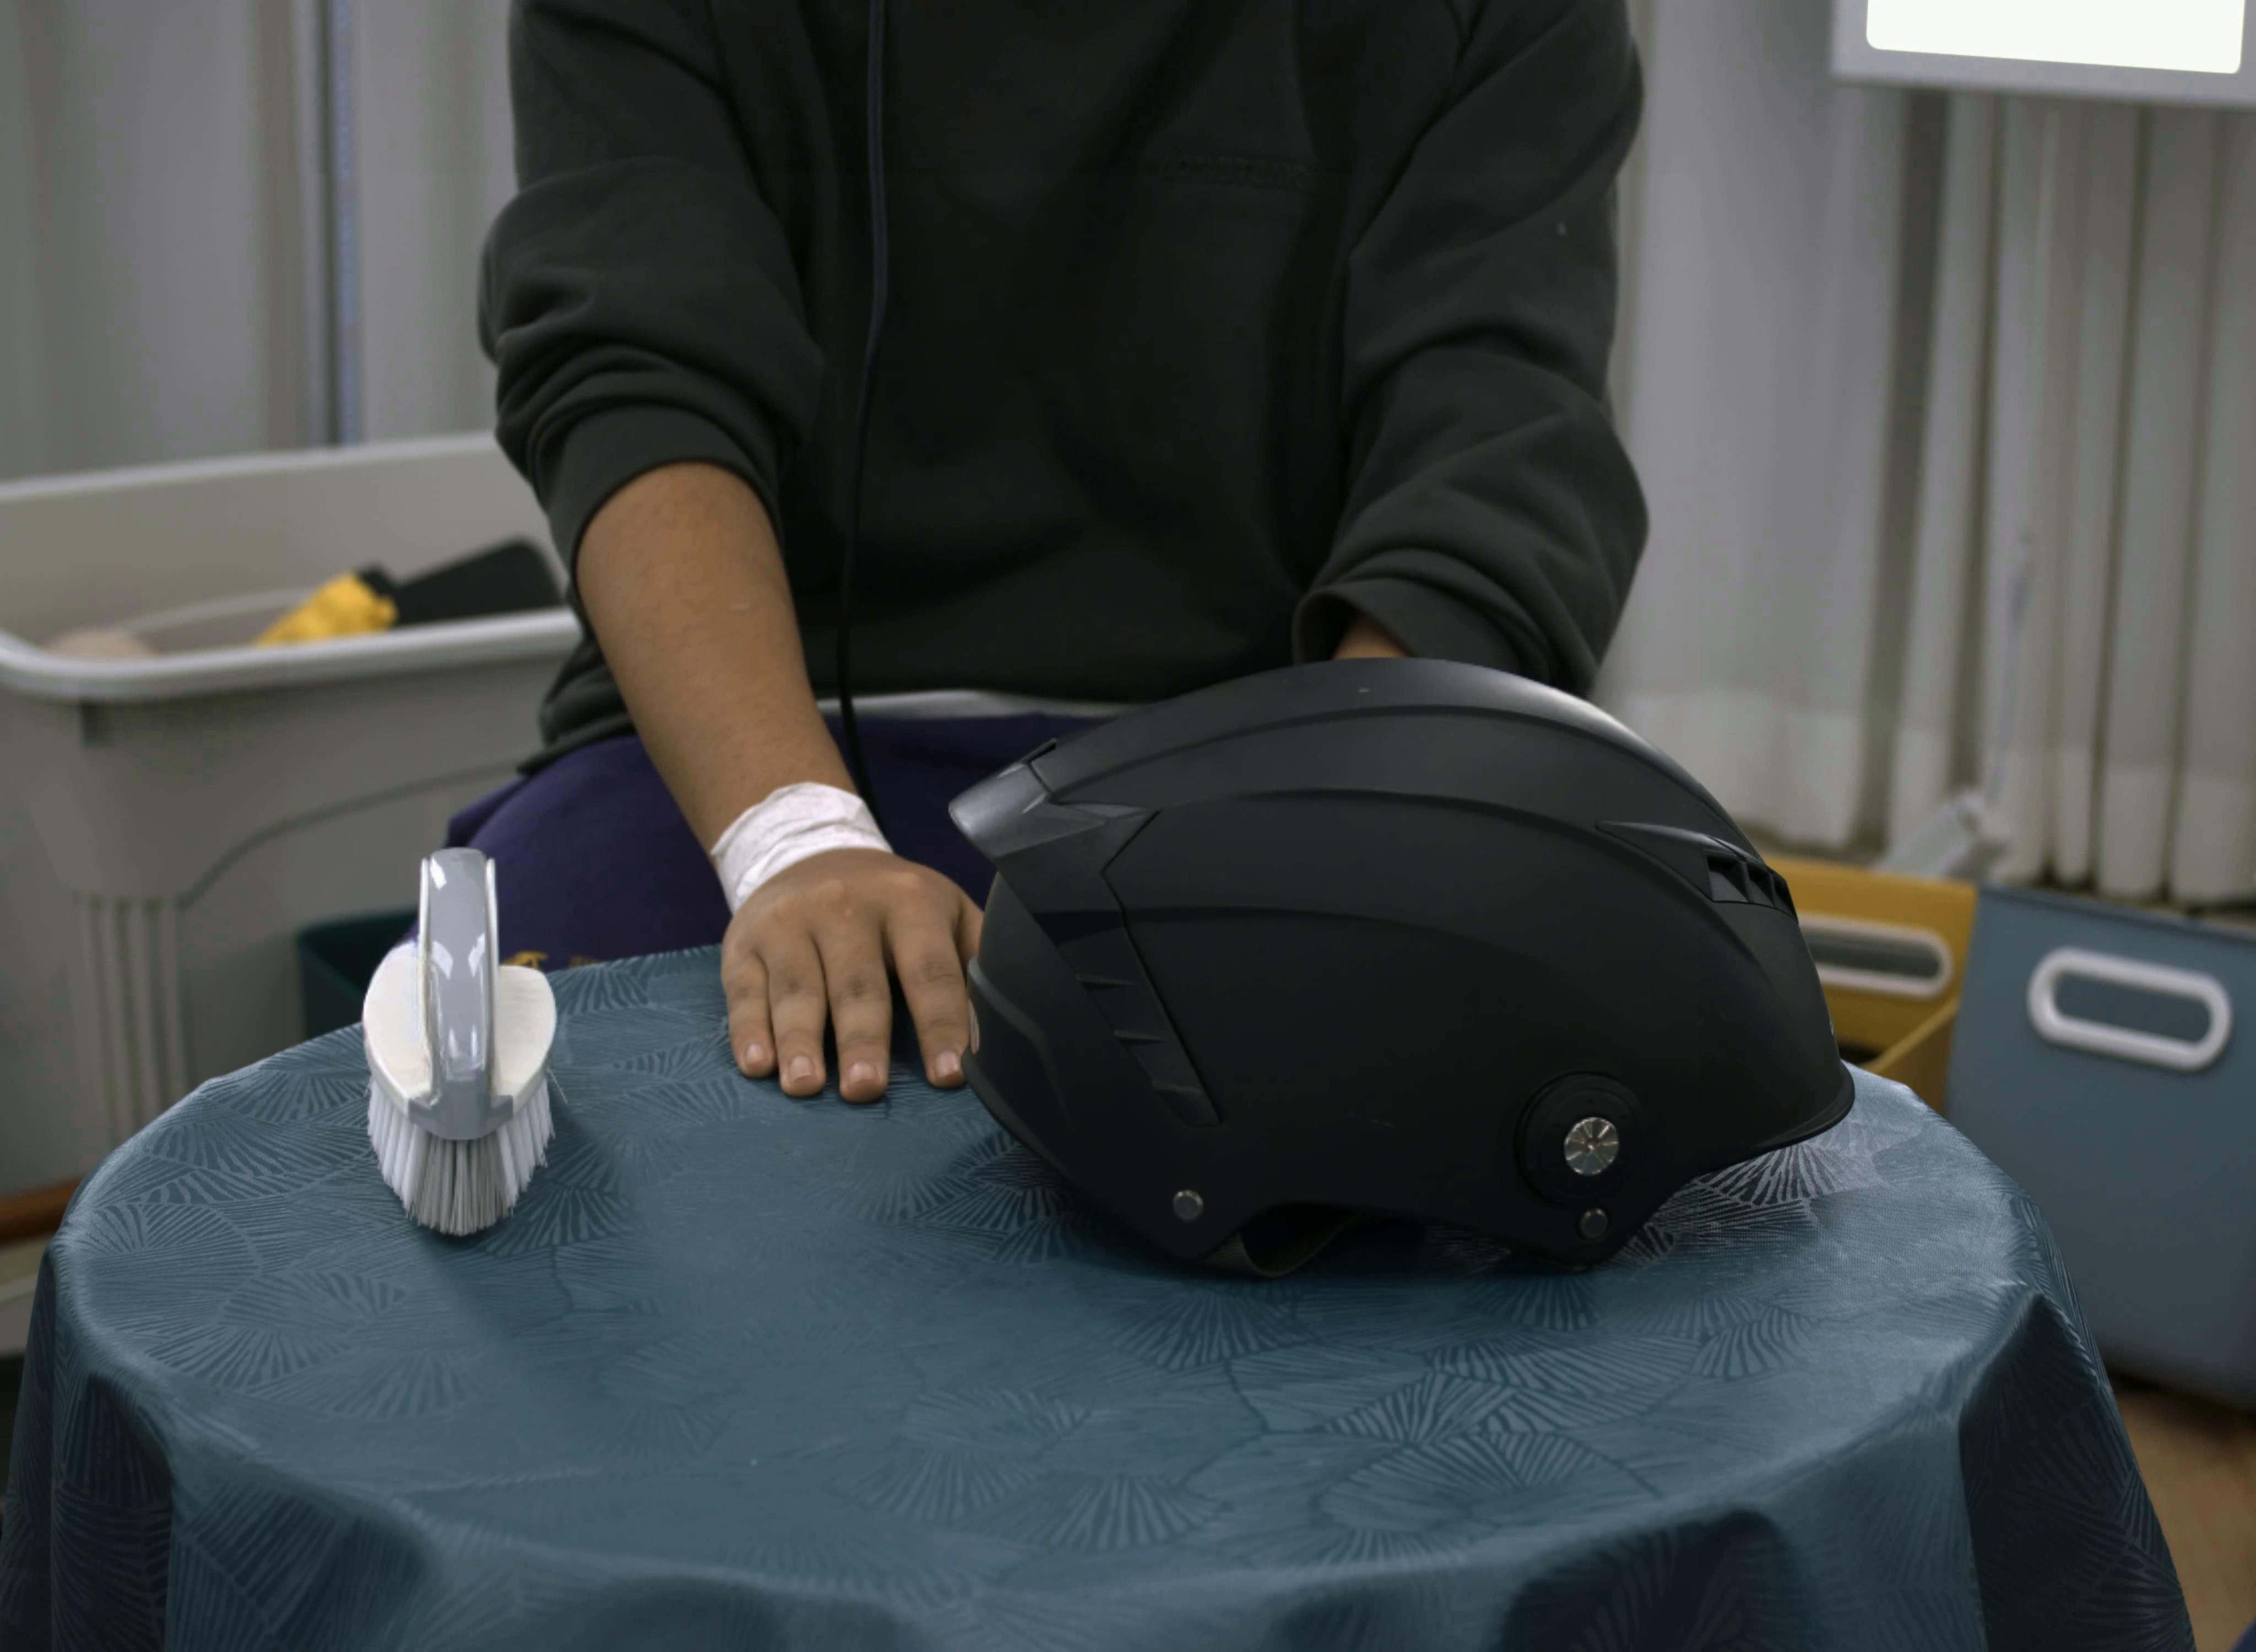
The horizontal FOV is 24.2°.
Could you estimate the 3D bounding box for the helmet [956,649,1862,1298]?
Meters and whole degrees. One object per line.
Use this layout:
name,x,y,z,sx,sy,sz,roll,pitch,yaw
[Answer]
helmet,0.083,0.031,1.621,0.276,0.174,0.244,-6,17,-9

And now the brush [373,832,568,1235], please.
brush,-0.206,0.059,1.639,0.061,0.095,0.174,-3,18,-6
